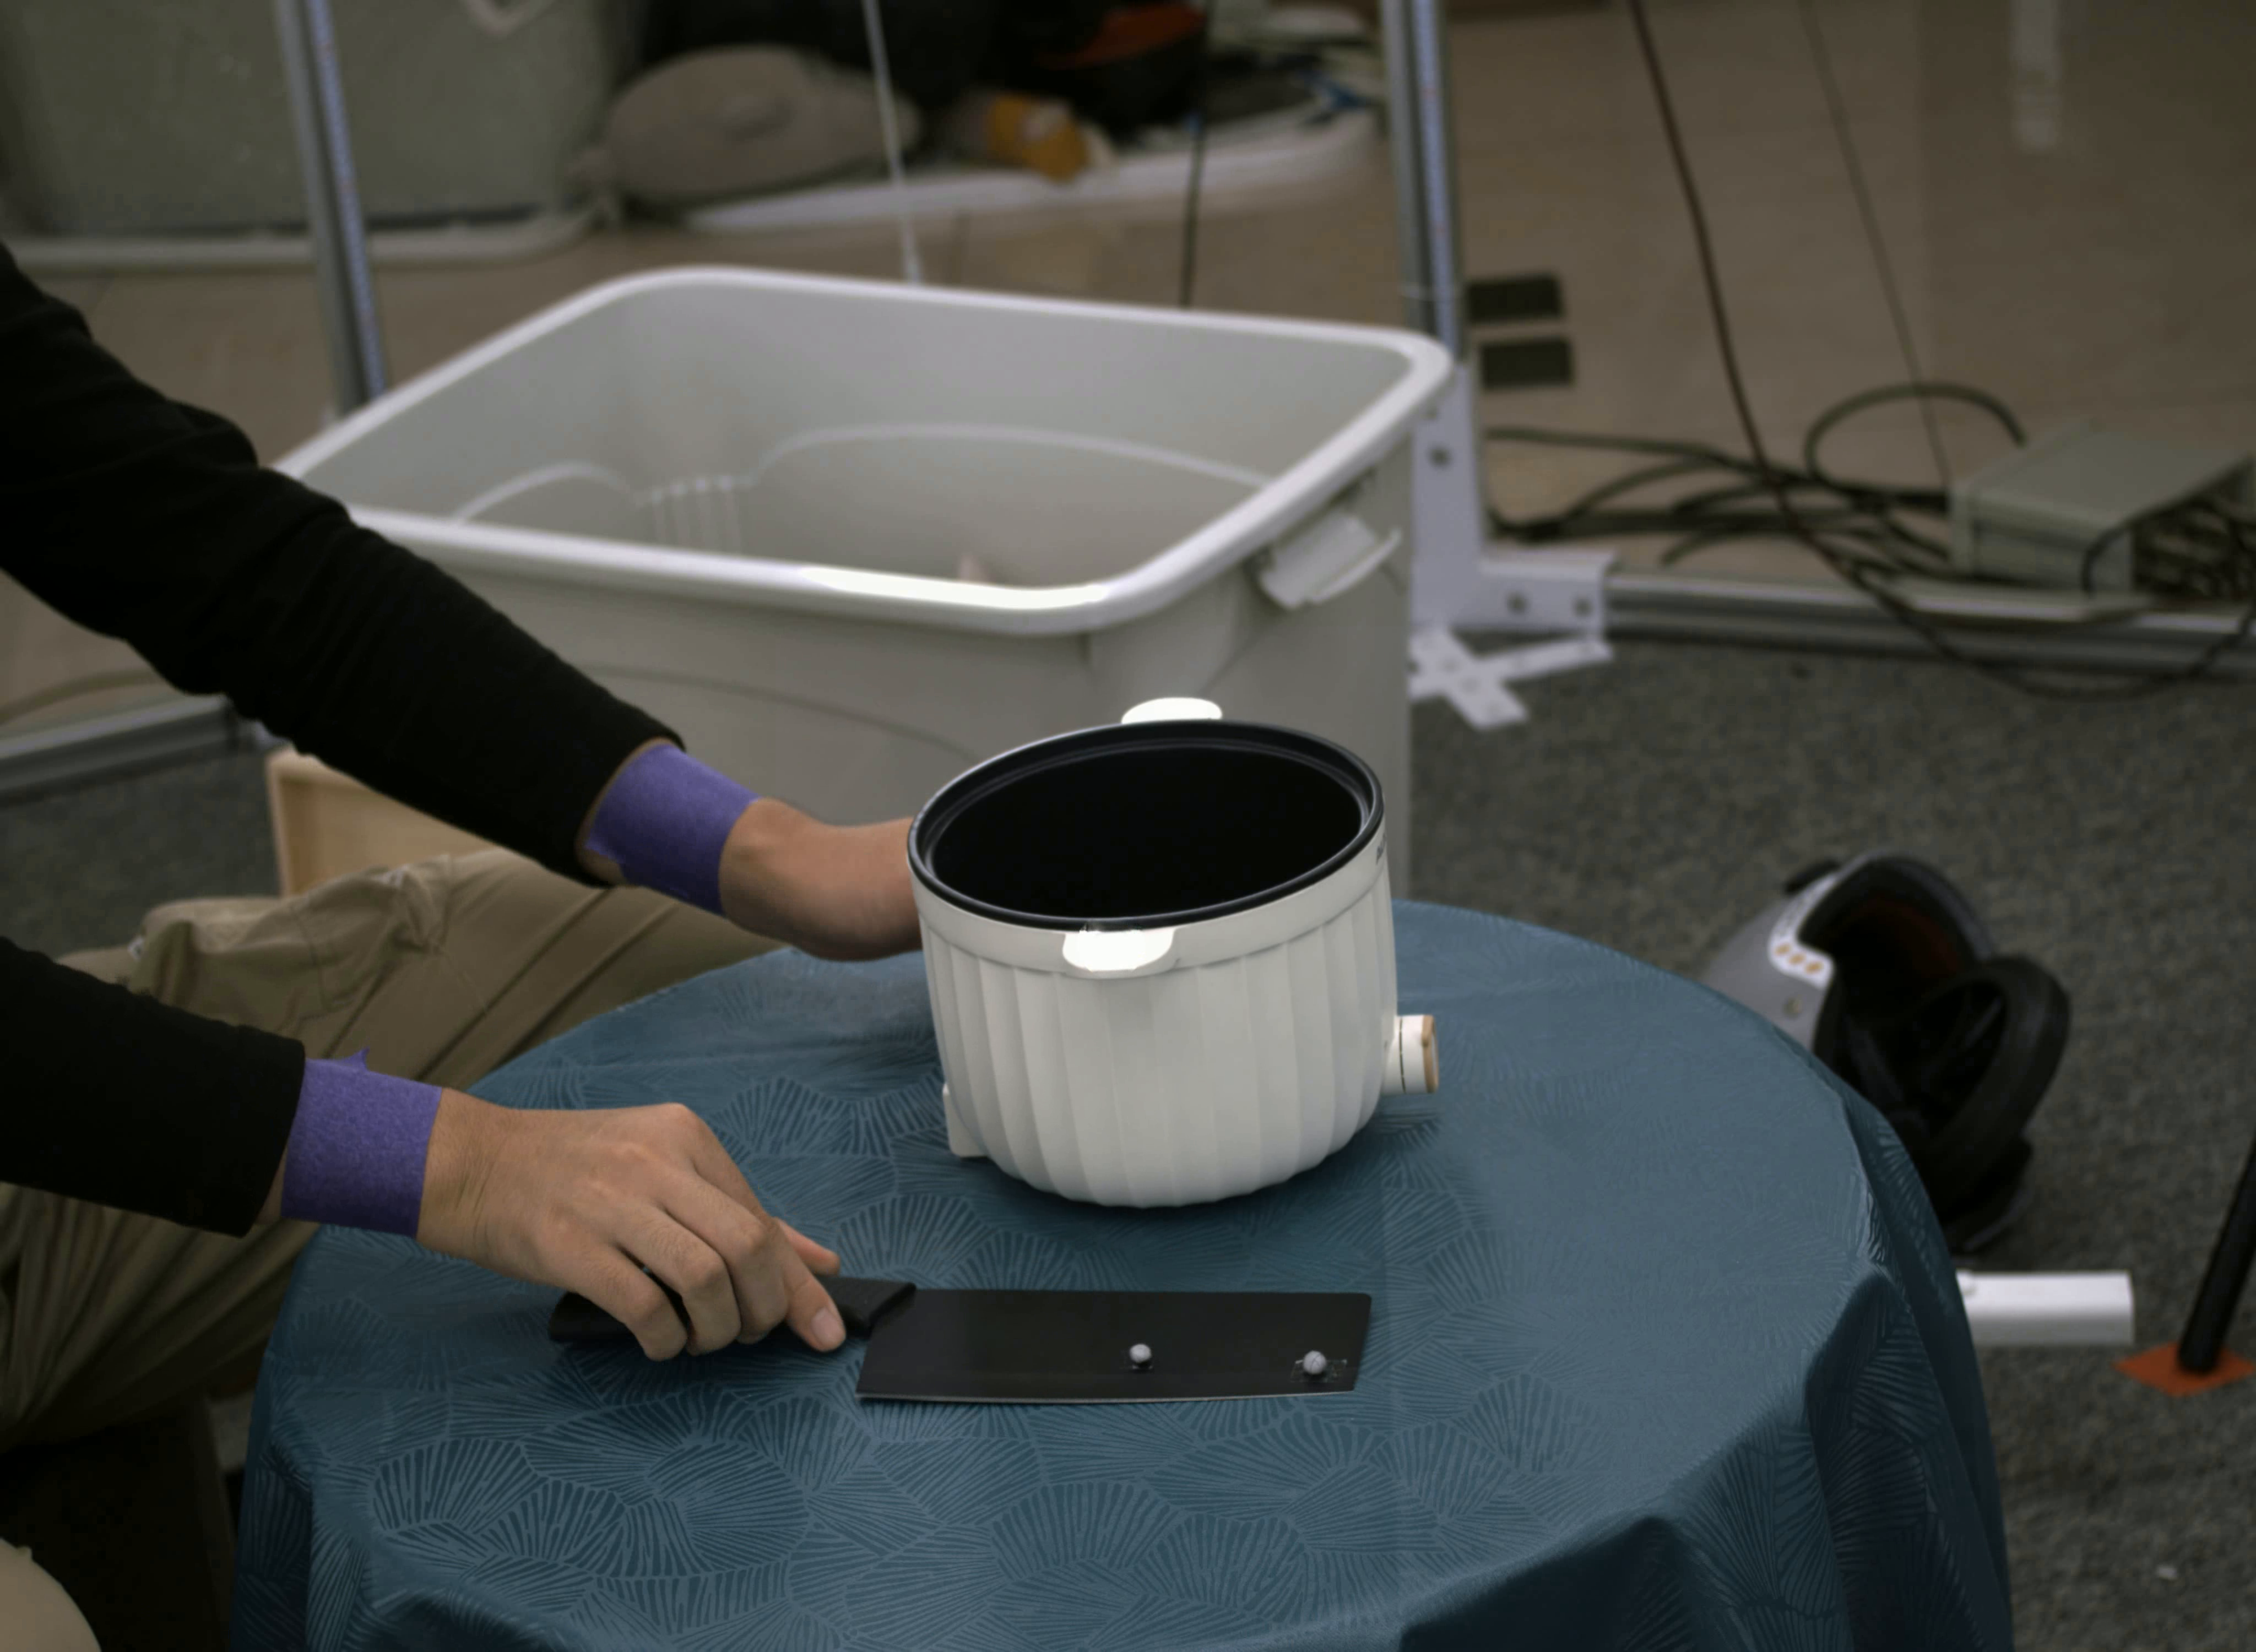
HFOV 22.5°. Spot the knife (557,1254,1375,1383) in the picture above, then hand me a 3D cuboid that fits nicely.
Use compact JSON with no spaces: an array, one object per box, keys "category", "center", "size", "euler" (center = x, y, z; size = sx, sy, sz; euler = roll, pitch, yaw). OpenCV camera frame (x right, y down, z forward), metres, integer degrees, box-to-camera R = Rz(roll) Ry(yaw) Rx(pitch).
[{"category":"knife","center":[-0.060,0.179,2.060],"size":[0.301,0.021,0.079],"euler":[2,31,13]}]

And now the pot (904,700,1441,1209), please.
[{"category":"pot","center":[0.019,0.056,2.158],"size":[0.190,0.145,0.237],"euler":[-6,26,9]}]
